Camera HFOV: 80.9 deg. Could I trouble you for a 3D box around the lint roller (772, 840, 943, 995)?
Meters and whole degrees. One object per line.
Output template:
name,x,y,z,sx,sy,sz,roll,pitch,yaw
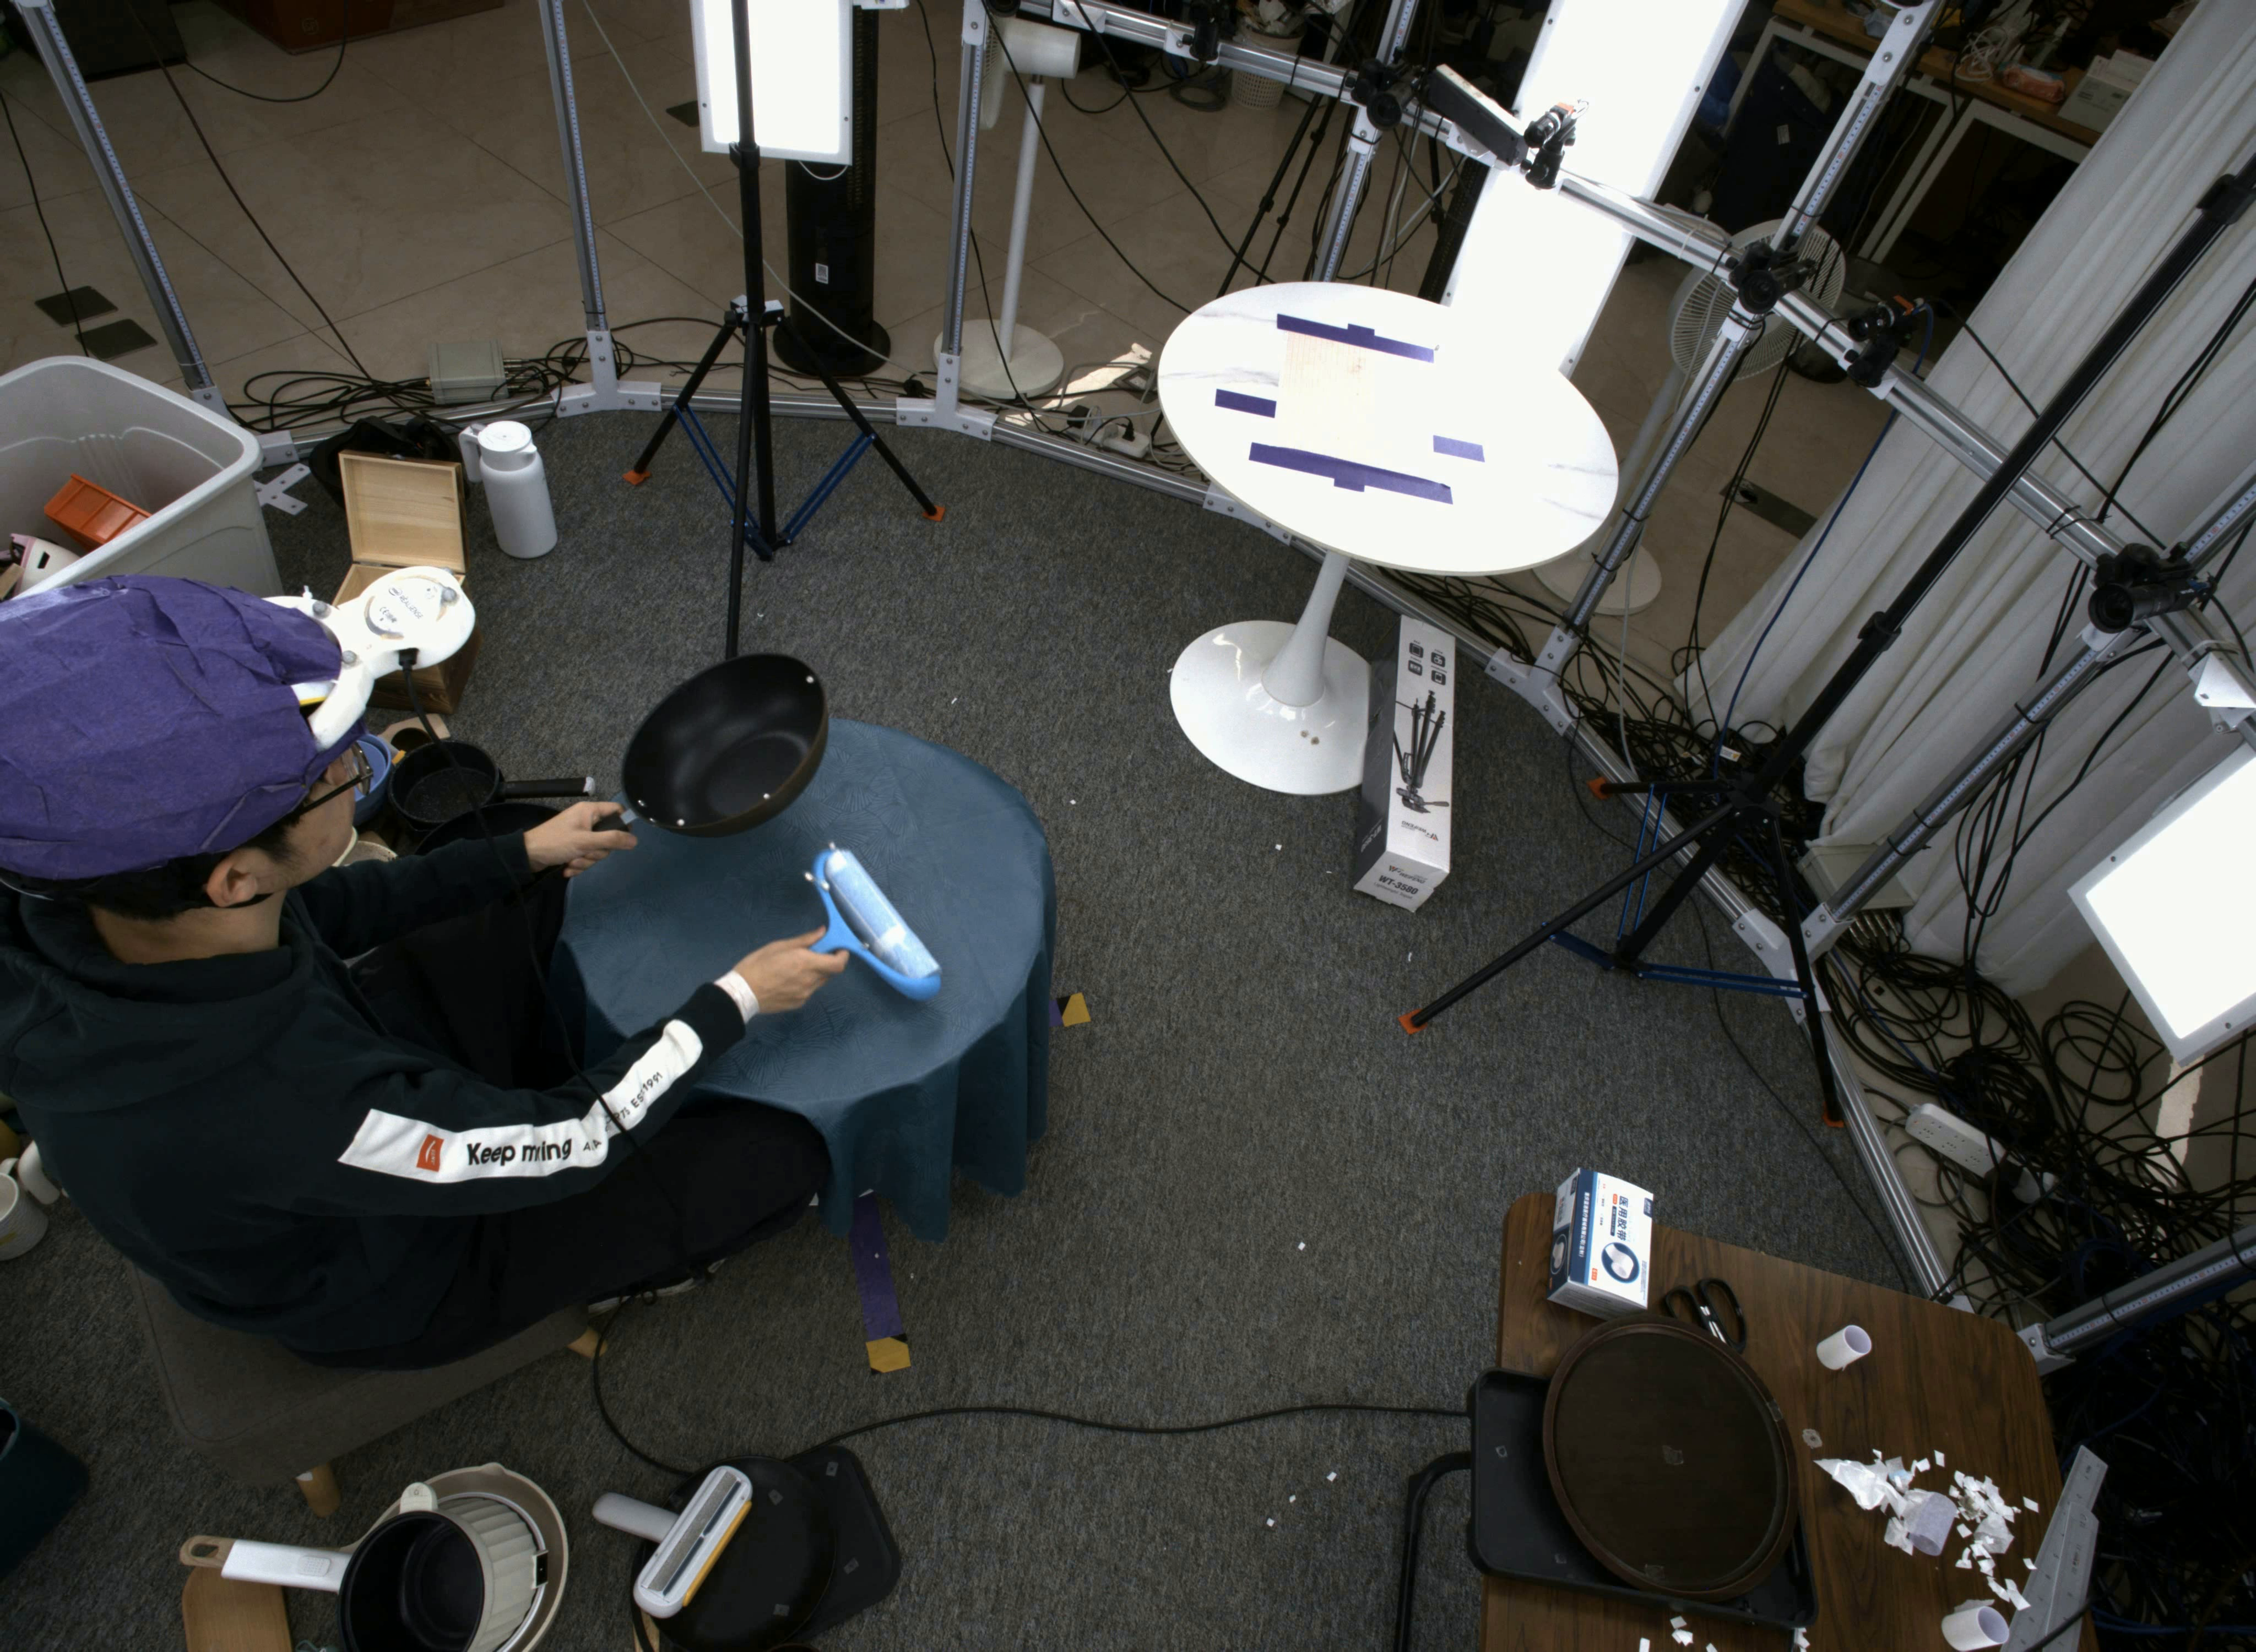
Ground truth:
lint roller,-0.346,0.136,1.555,0.228,0.068,0.180,48,56,5

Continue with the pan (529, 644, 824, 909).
pan,-0.553,-0.033,1.580,0.463,0.090,0.277,-40,51,-9
